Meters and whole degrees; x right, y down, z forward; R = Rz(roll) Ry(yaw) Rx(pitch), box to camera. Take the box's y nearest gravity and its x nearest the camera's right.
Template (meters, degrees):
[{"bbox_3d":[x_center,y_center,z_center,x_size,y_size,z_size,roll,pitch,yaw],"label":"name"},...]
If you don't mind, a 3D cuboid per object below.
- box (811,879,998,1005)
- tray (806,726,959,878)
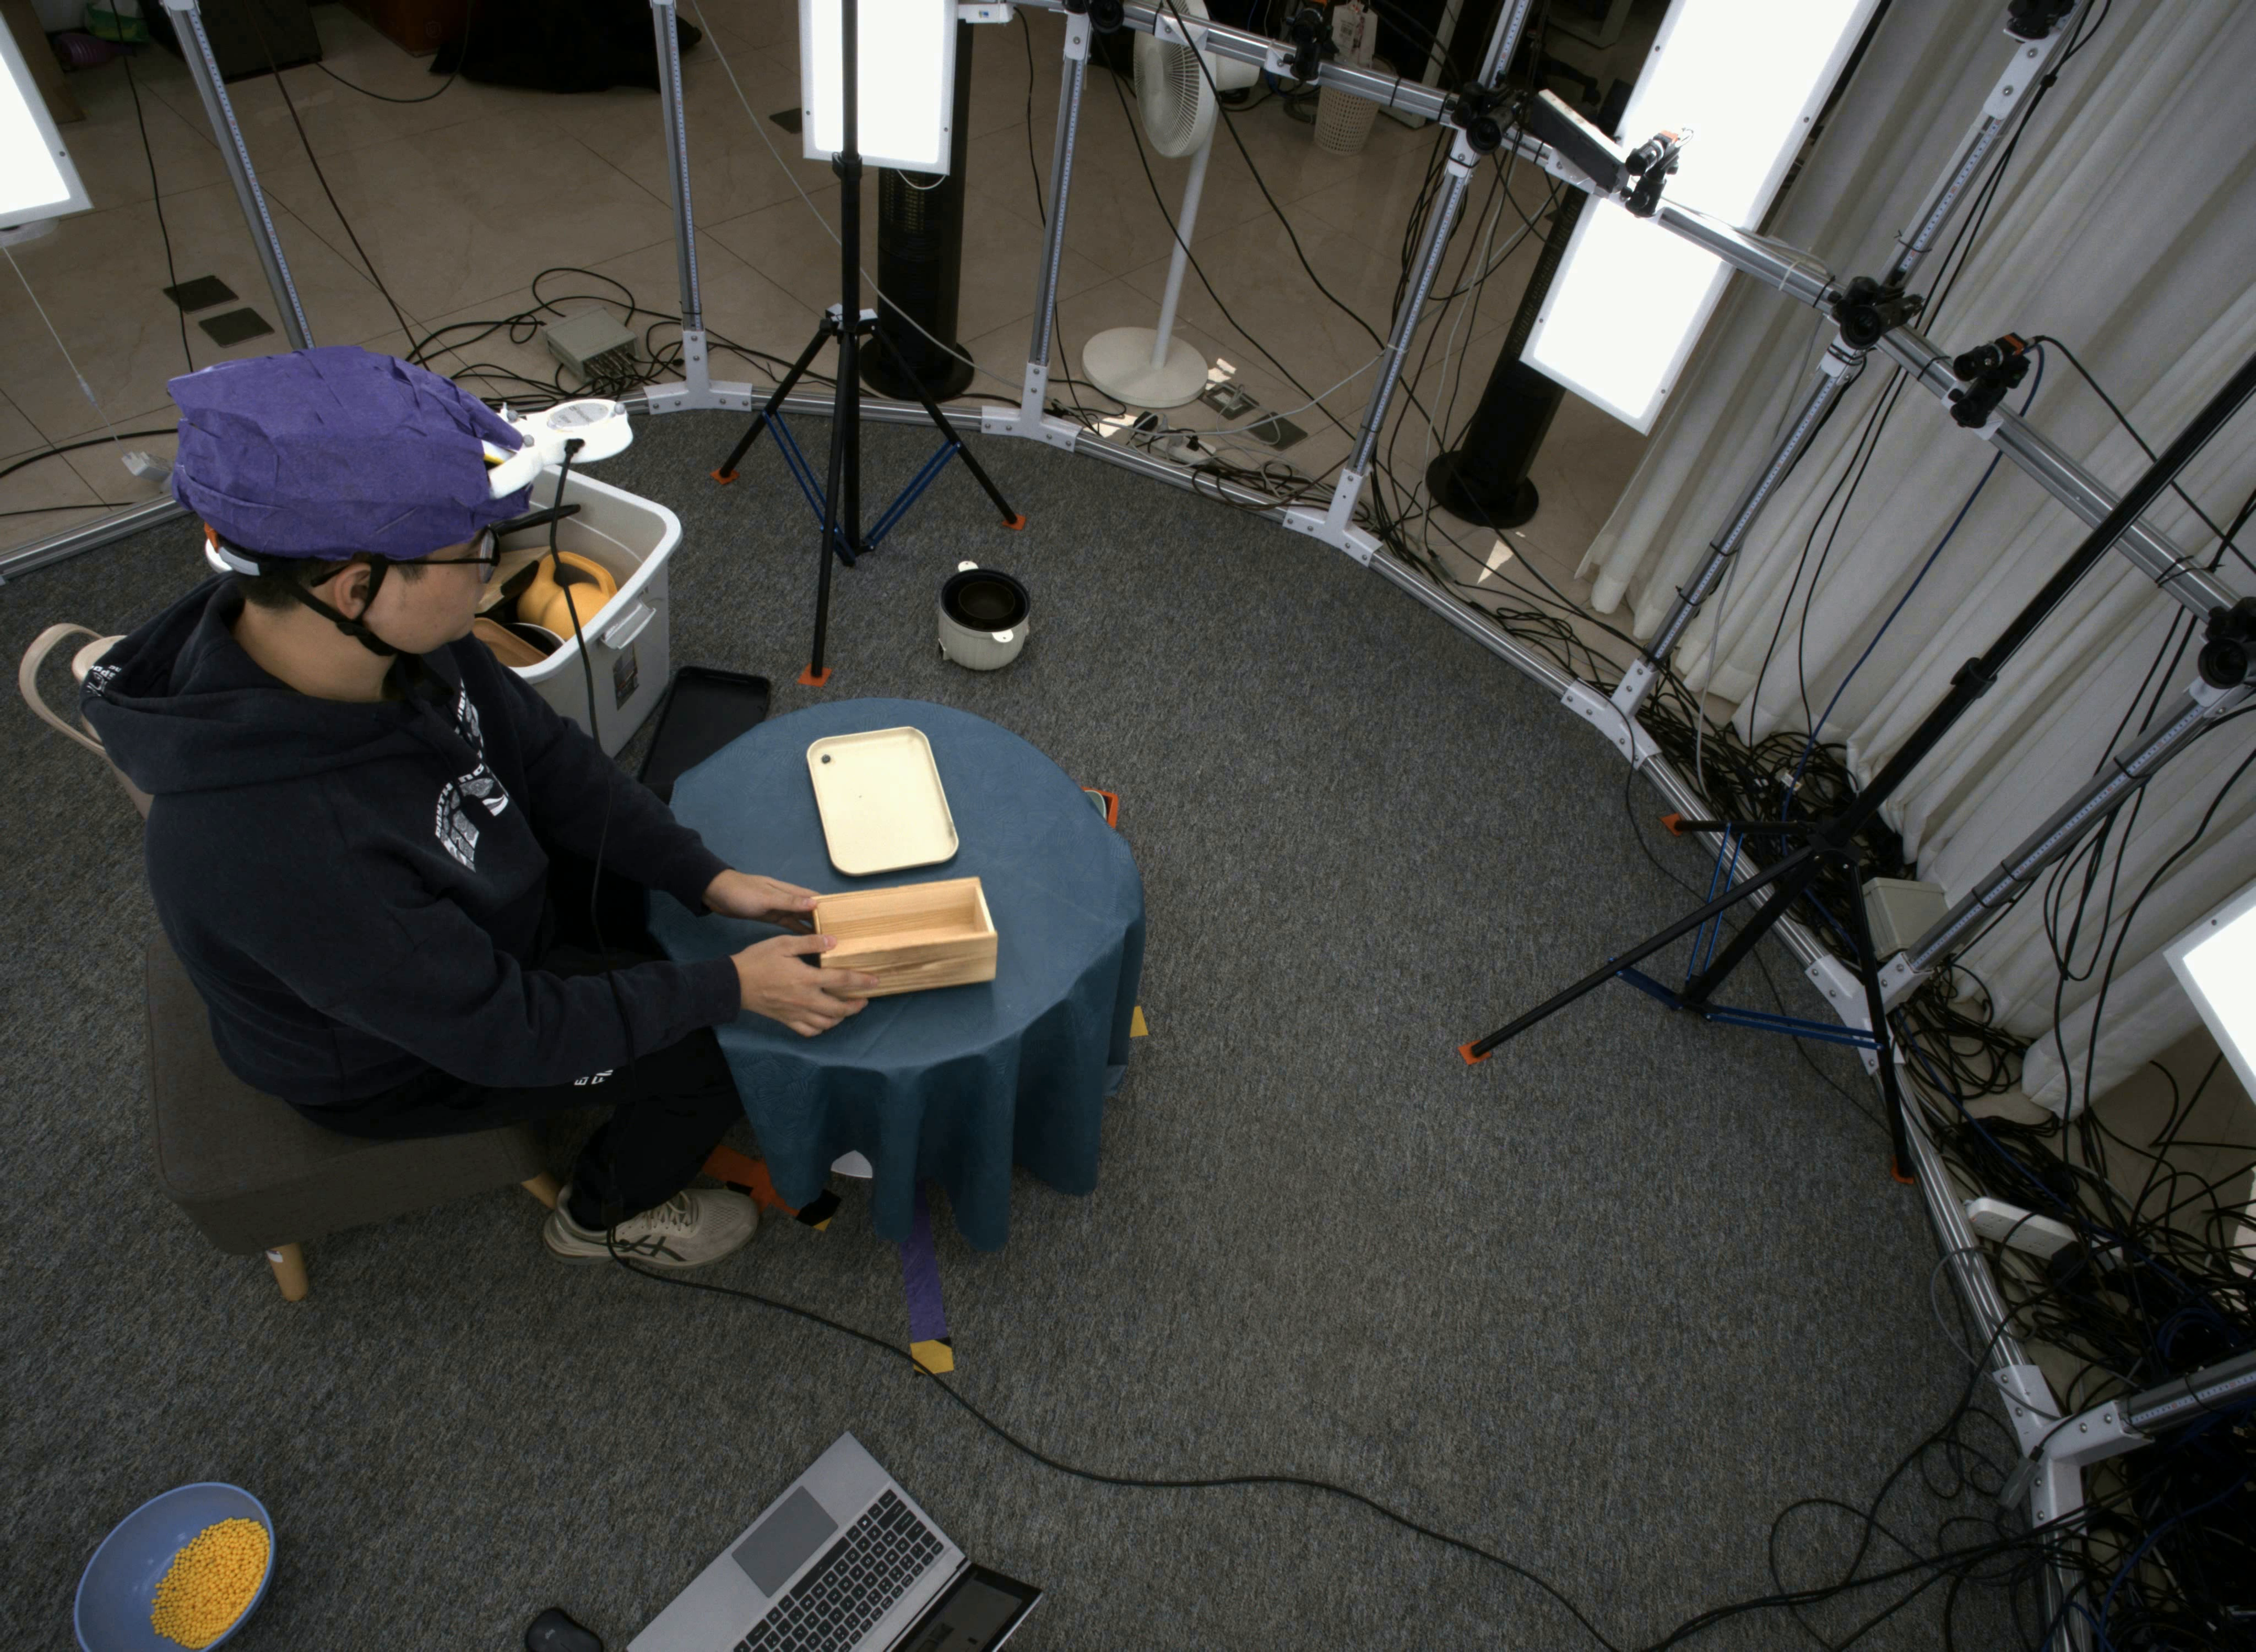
[{"bbox_3d":[-0.273,0.138,1.588,0.212,0.082,0.104,-6,44,-19],"label":"box"},{"bbox_3d":[-0.334,-0.035,1.758,0.172,0.018,0.234,-9,57,-20],"label":"tray"}]
